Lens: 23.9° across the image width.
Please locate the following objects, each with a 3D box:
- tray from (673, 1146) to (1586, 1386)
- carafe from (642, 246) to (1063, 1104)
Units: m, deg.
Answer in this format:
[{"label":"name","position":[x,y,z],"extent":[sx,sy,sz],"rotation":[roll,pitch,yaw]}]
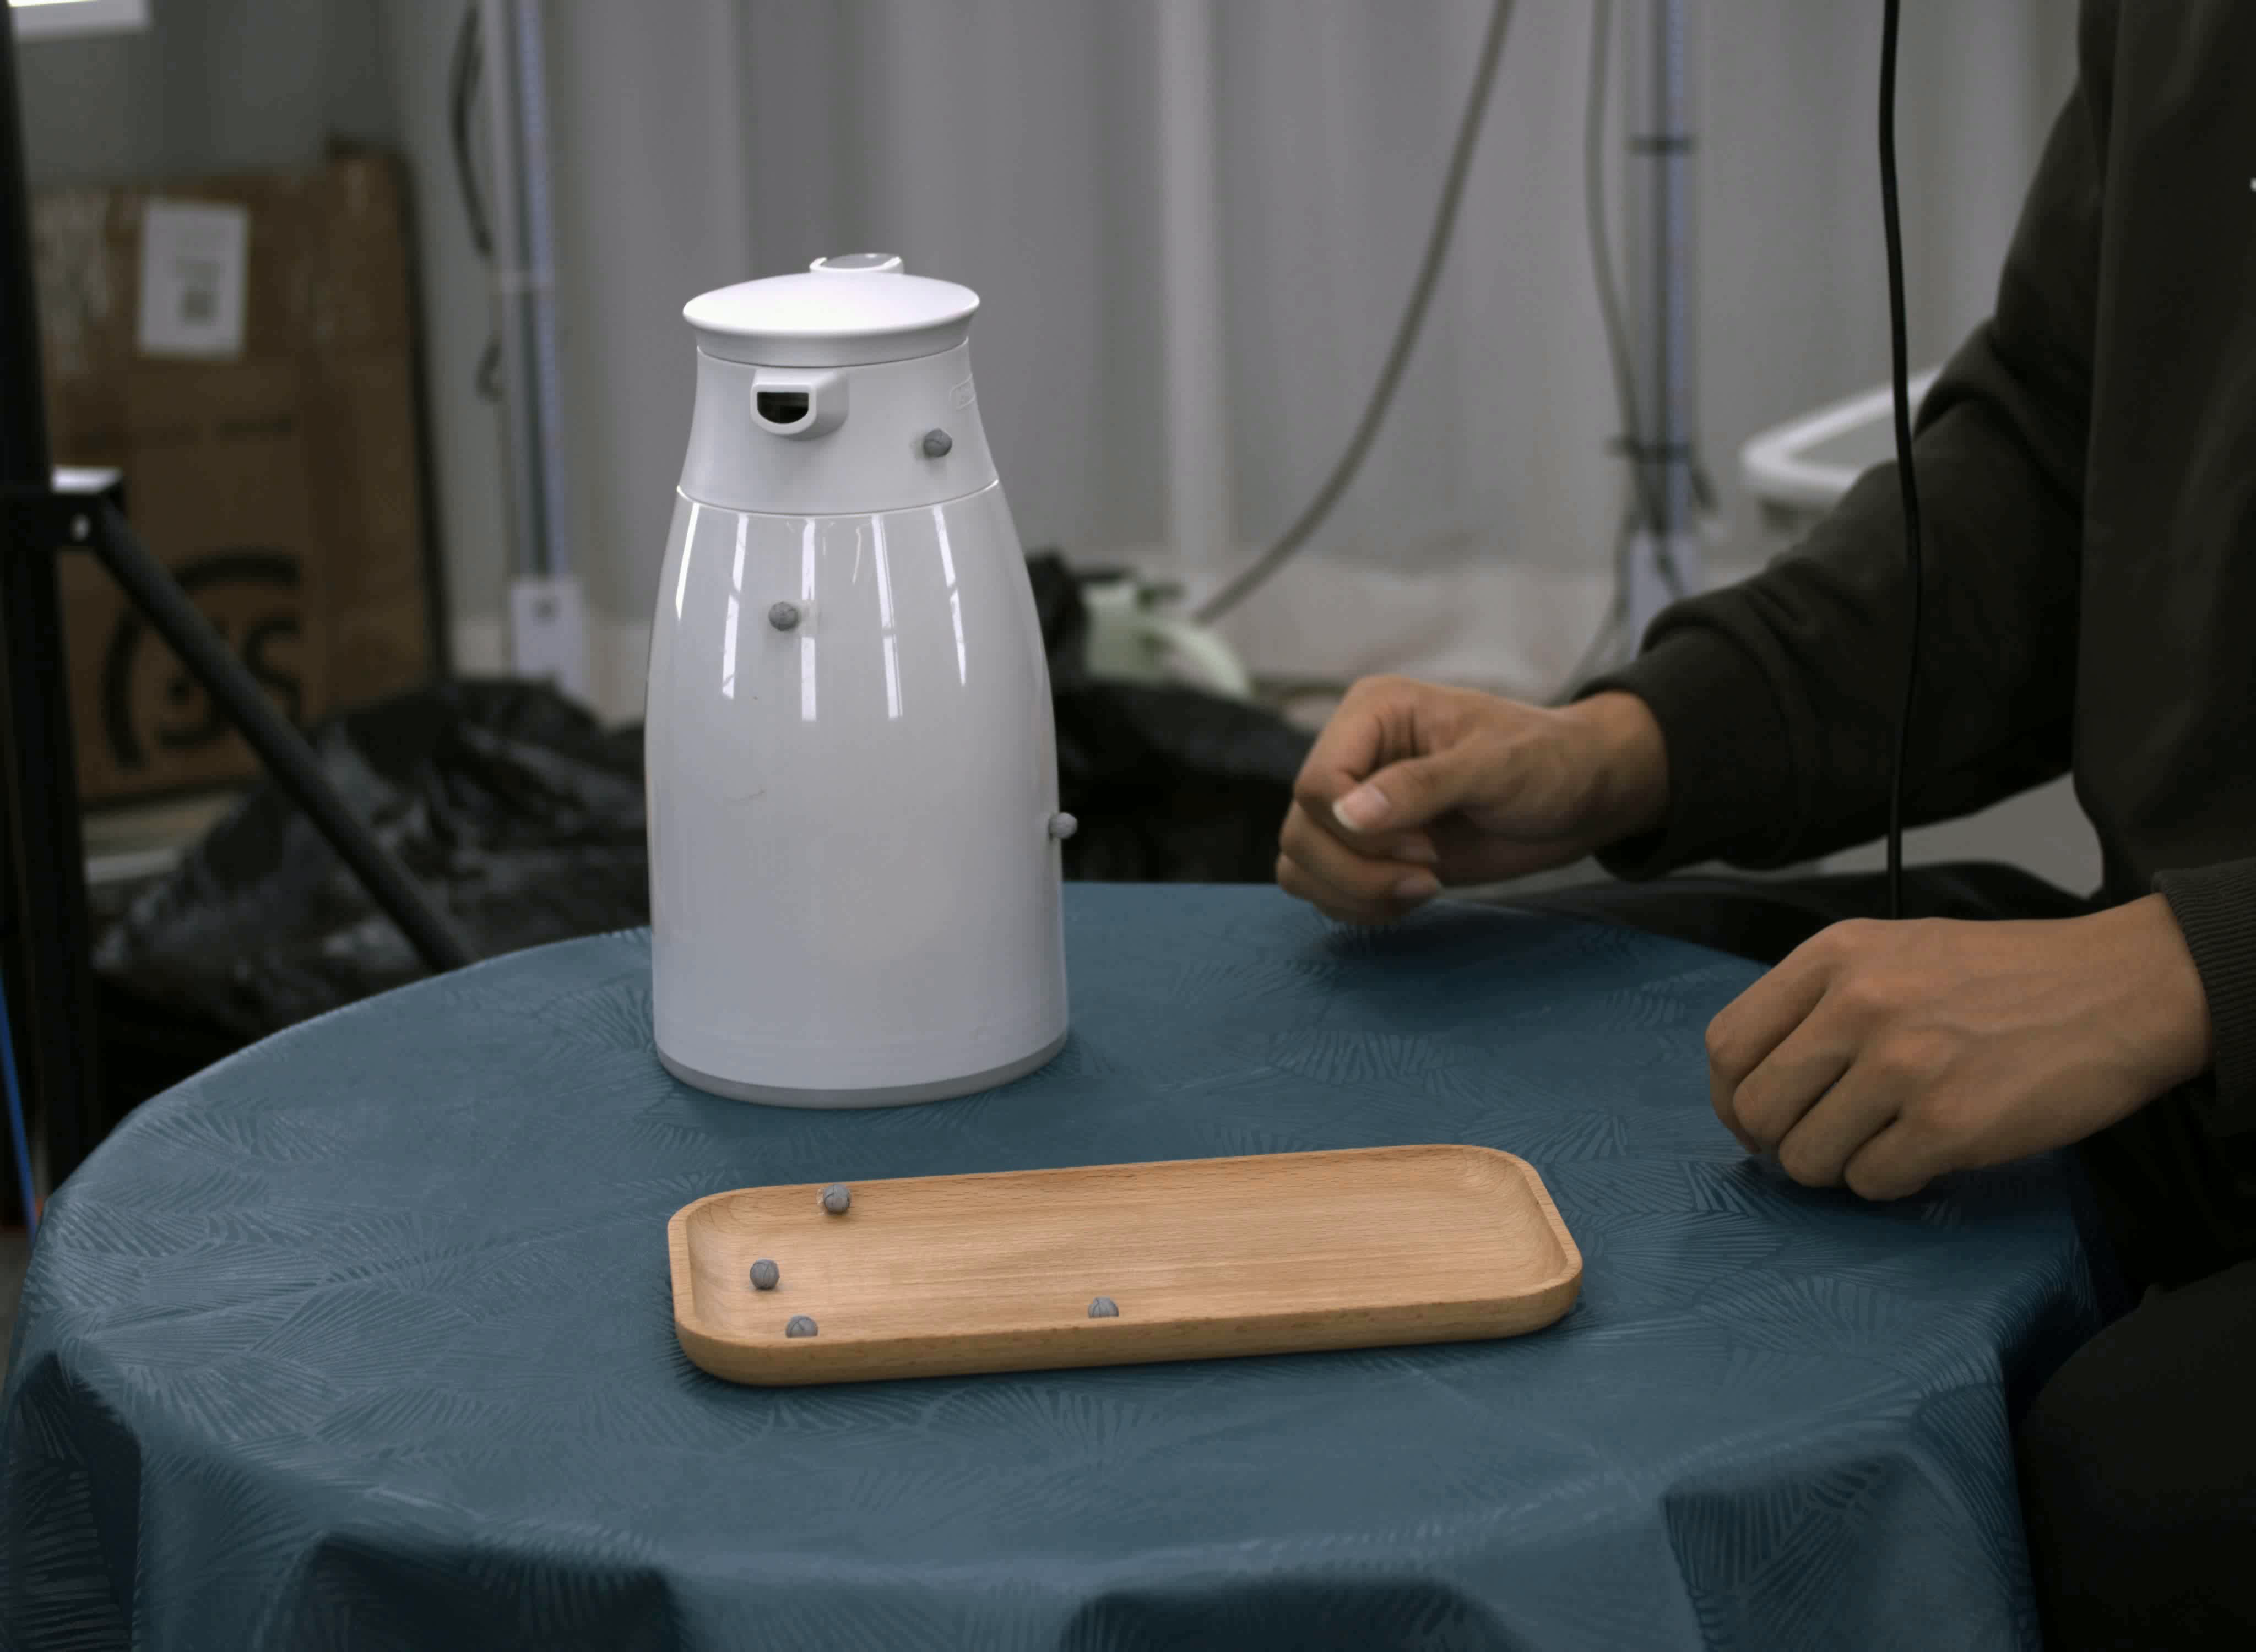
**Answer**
[{"label":"tray","position":[-0.001,0.122,1.481],"extent":[0.249,0.023,0.131],"rotation":[-2,18,-3]},{"label":"carafe","position":[-0.088,-0.056,1.694],"extent":[0.133,0.248,0.167],"rotation":[1,15,10]}]
